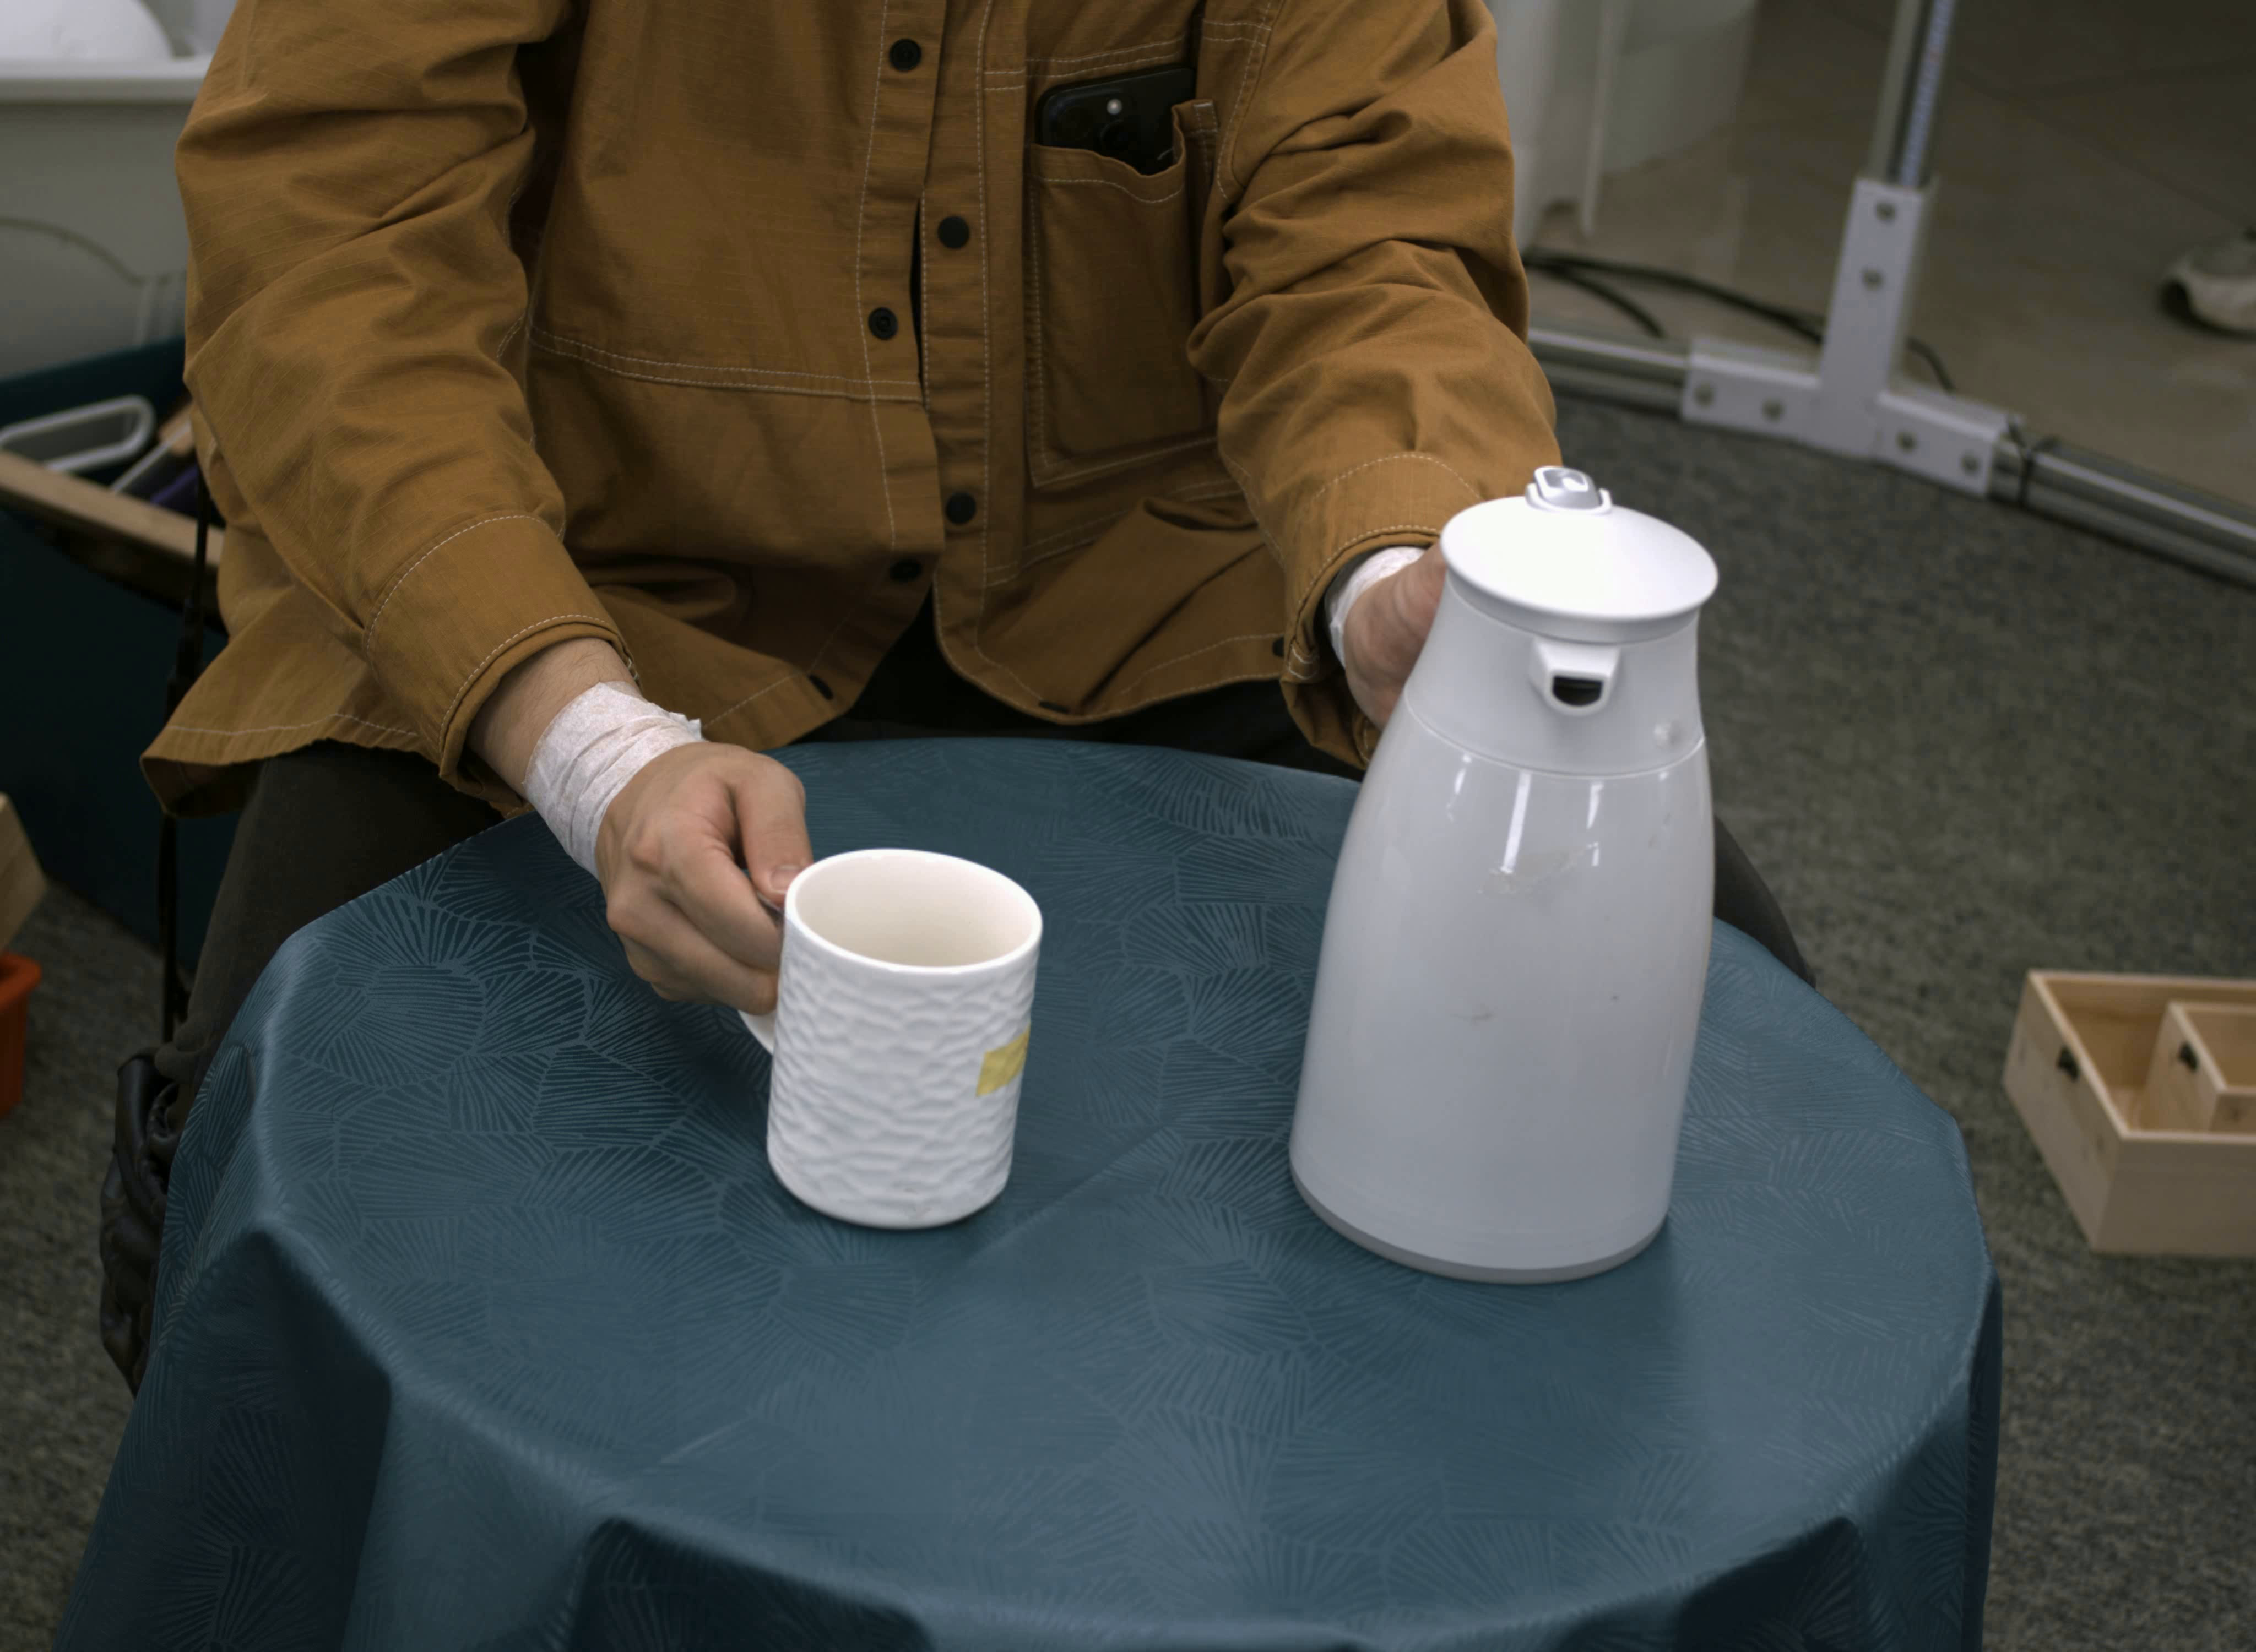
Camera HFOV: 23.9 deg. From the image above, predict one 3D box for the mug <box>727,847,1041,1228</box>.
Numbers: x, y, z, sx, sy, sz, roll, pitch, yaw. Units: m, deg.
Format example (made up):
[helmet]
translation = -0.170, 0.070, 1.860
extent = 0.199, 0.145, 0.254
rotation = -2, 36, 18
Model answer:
[mug]
translation = -0.089, 0.066, 1.787
extent = 0.119, 0.101, 0.084
rotation = 24, 31, 32

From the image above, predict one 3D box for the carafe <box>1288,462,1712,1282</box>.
[carafe]
translation = 0.132, 0.005, 1.796
extent = 0.132, 0.248, 0.168
rotation = 5, 26, -2
